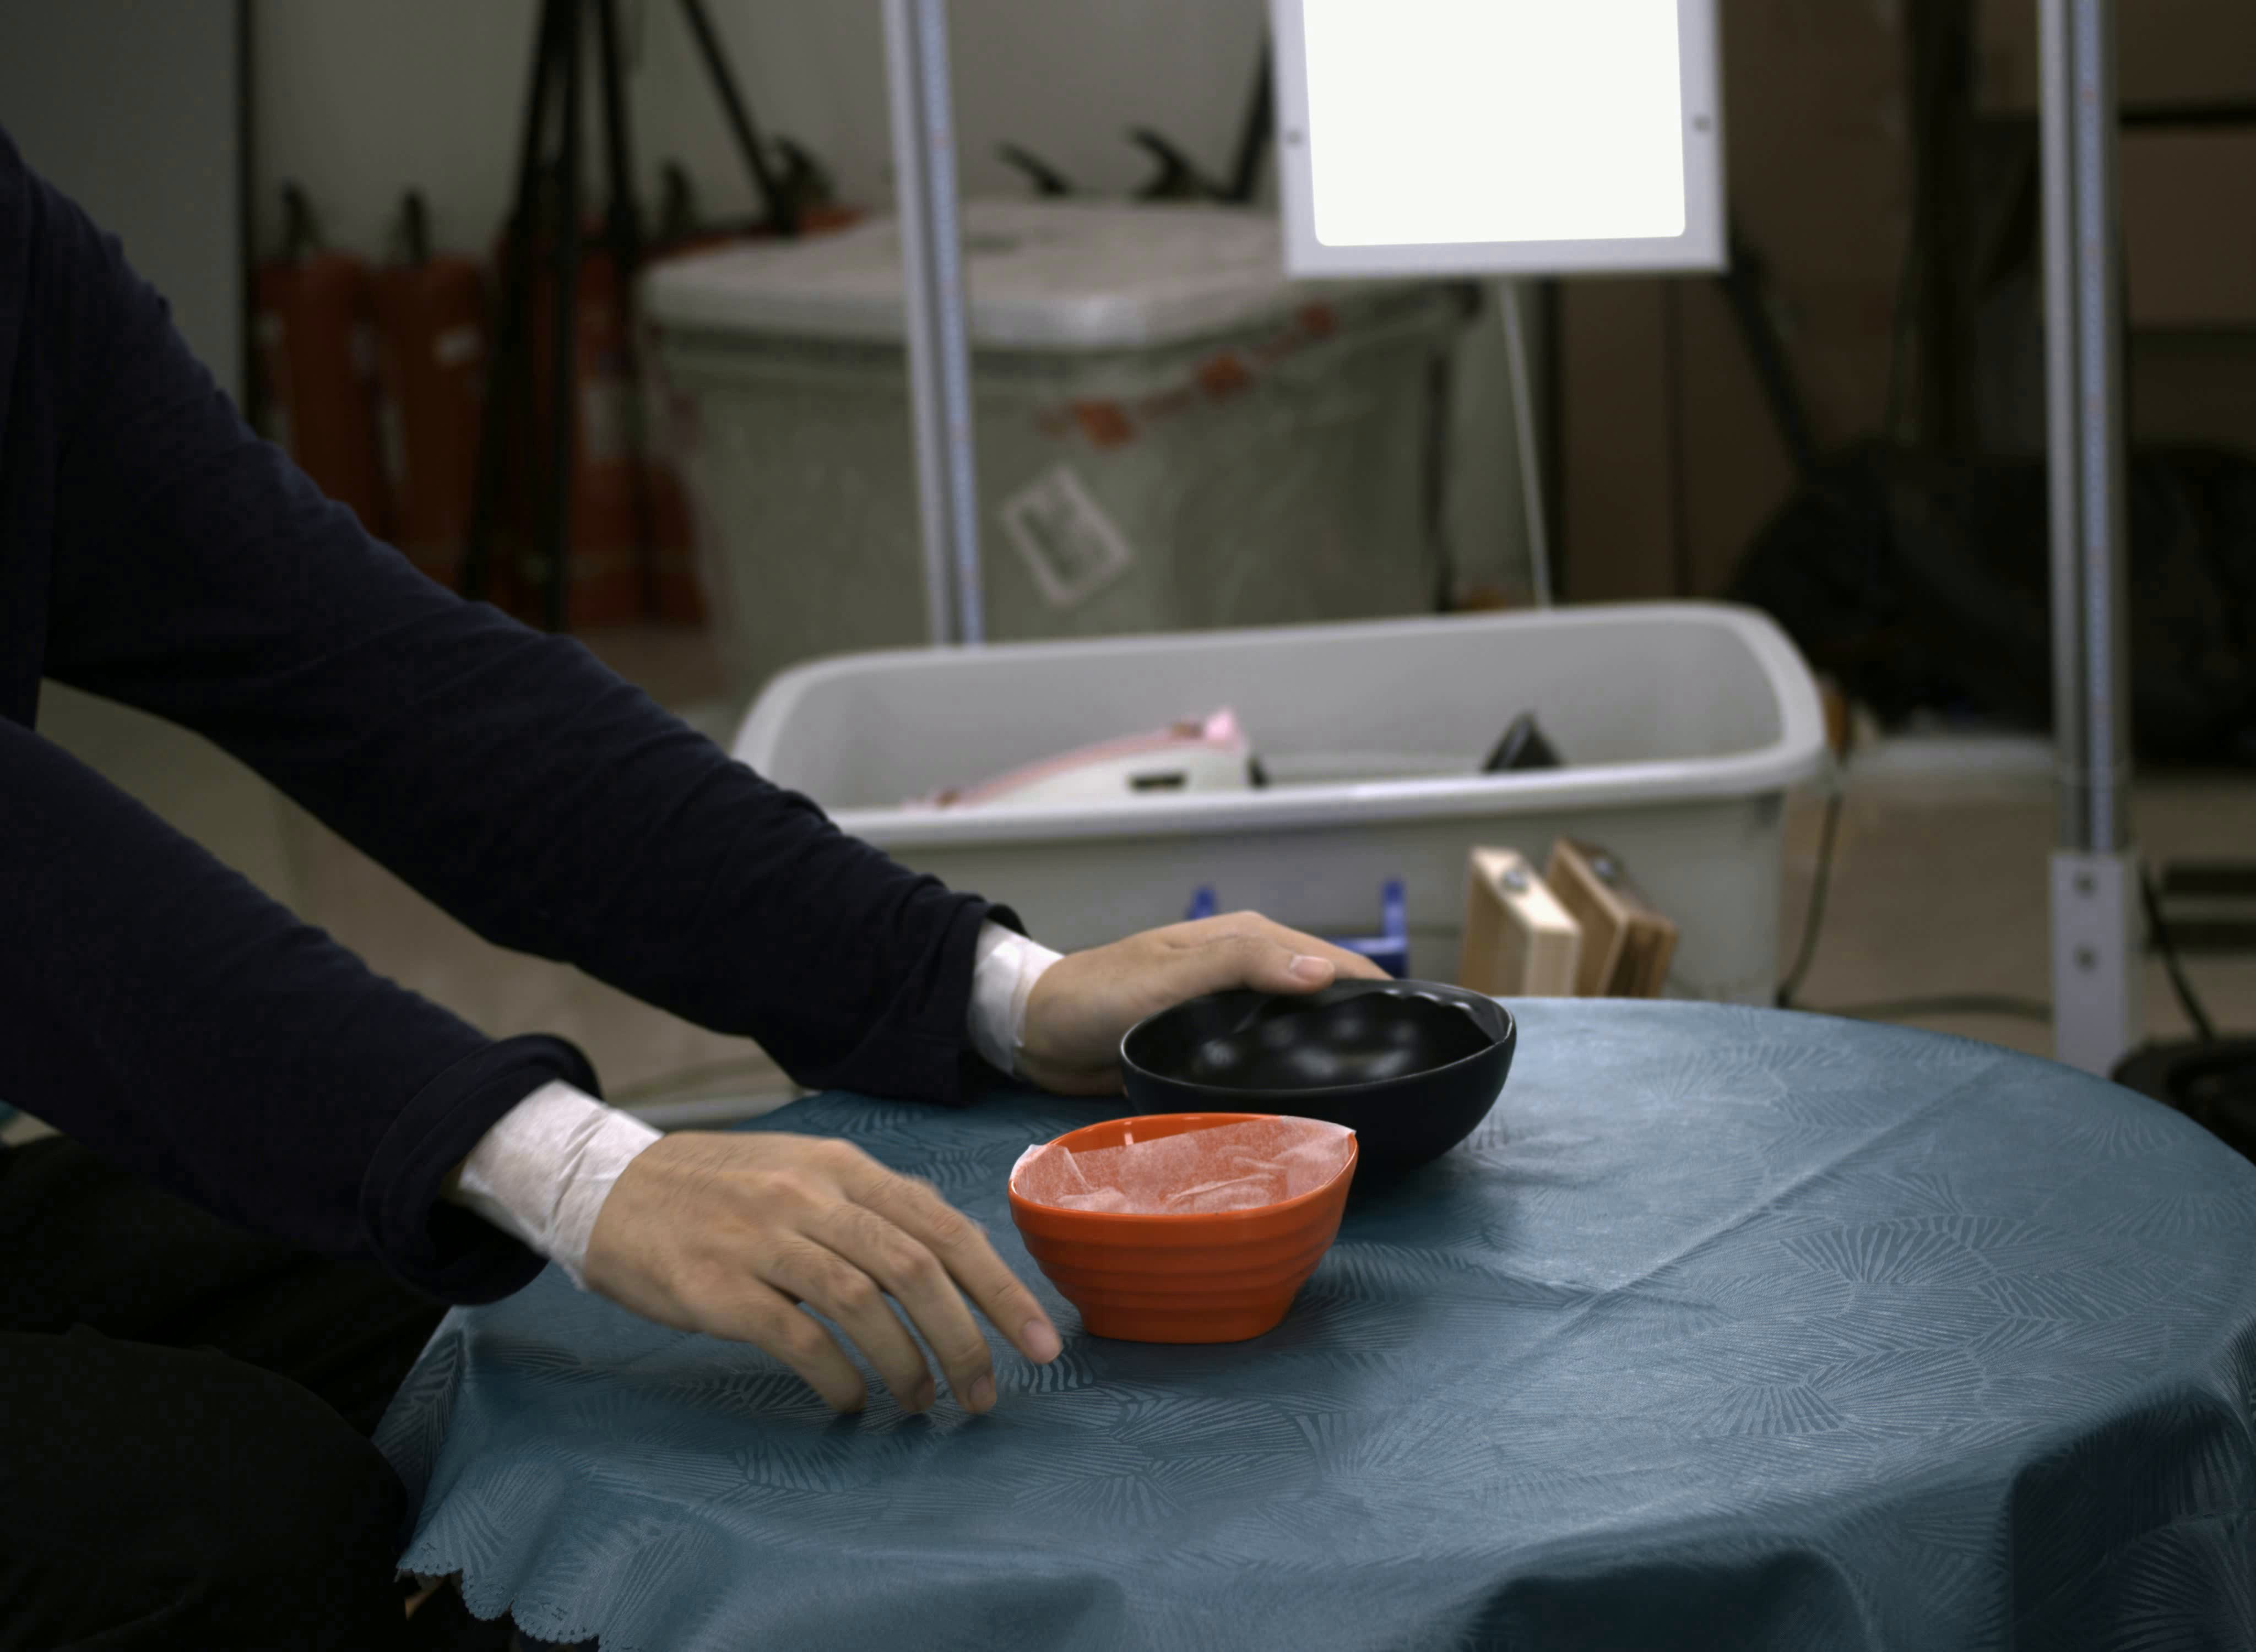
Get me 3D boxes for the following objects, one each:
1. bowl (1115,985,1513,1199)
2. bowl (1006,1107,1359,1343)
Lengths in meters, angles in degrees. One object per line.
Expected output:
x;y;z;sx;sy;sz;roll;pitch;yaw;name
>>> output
0.067;0.097;1.907;0.140;0.050;0.140;-9;12;0;bowl
0.019;0.131;1.770;0.118;0.051;0.119;-5;15;0;bowl
